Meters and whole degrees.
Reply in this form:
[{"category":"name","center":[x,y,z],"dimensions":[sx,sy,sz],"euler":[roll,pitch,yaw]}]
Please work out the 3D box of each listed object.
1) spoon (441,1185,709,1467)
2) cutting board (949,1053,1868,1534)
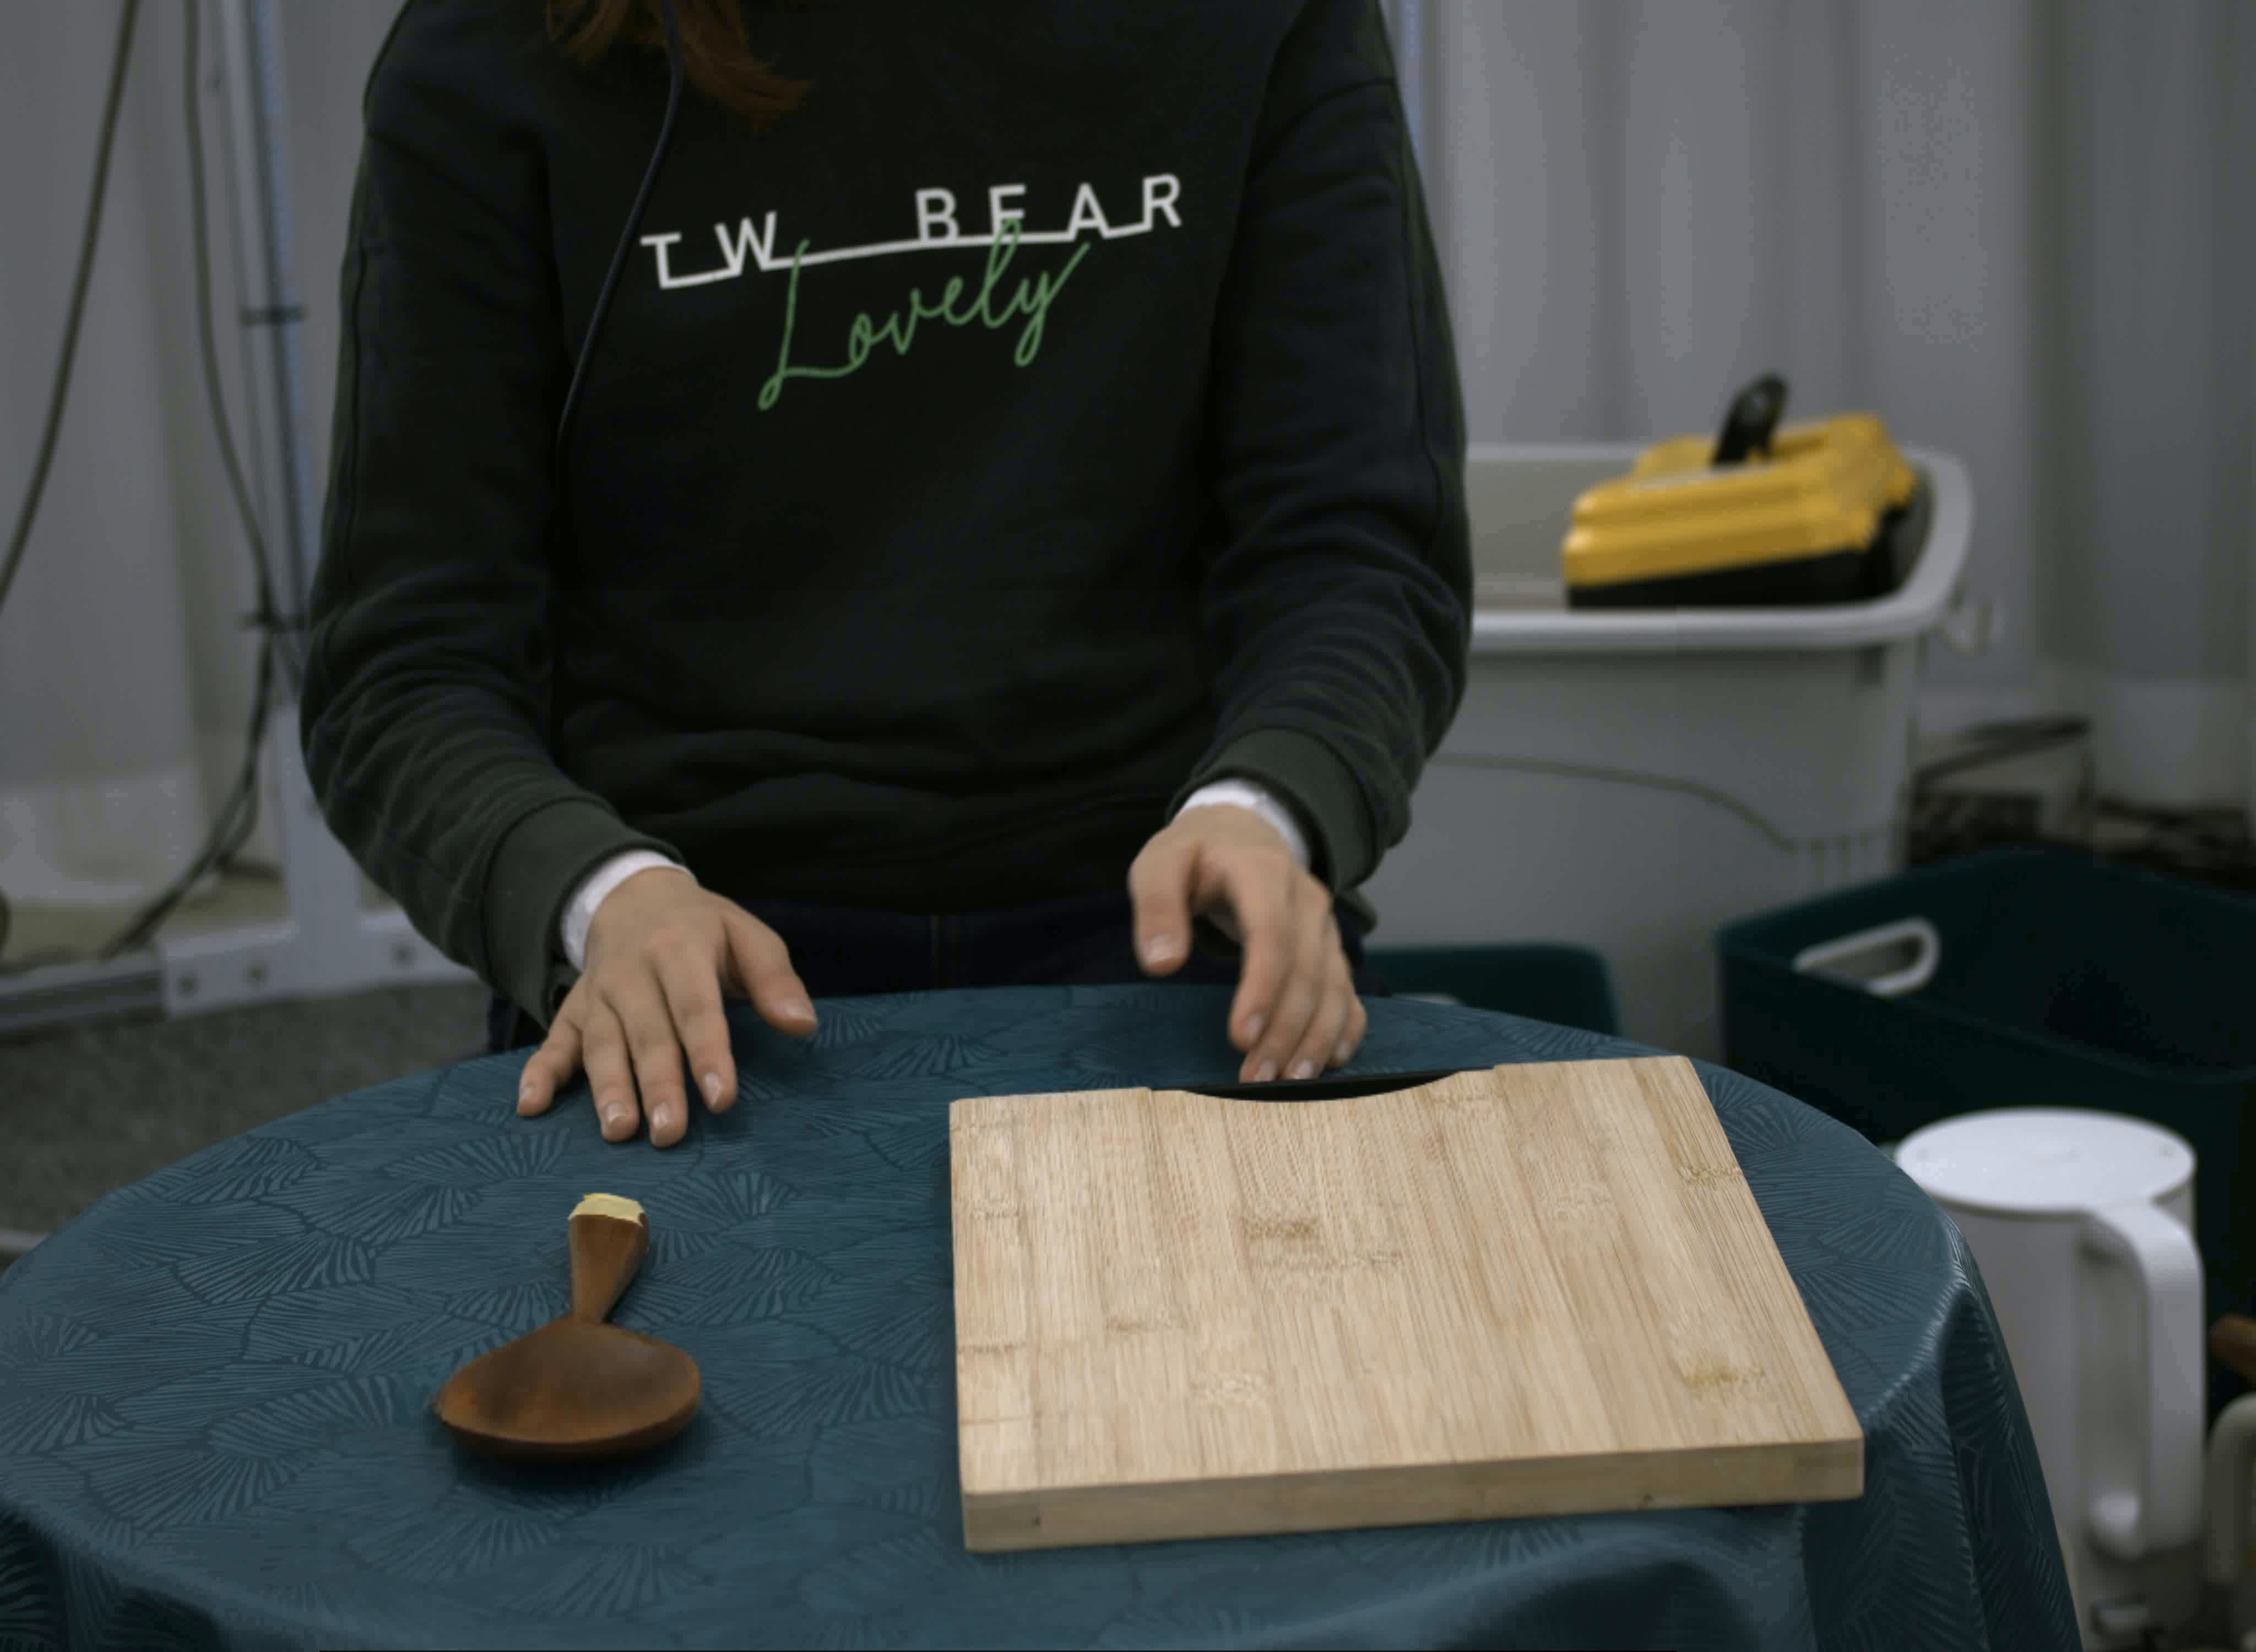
[{"category":"spoon","center":[-0.156,0.146,1.591],"dimensions":[0.075,0.017,0.217],"euler":[-4,15,-1]},{"category":"cutting board","center":[0.069,0.132,1.605],"dimensions":[0.250,0.023,0.351],"euler":[-3,15,-2]}]
